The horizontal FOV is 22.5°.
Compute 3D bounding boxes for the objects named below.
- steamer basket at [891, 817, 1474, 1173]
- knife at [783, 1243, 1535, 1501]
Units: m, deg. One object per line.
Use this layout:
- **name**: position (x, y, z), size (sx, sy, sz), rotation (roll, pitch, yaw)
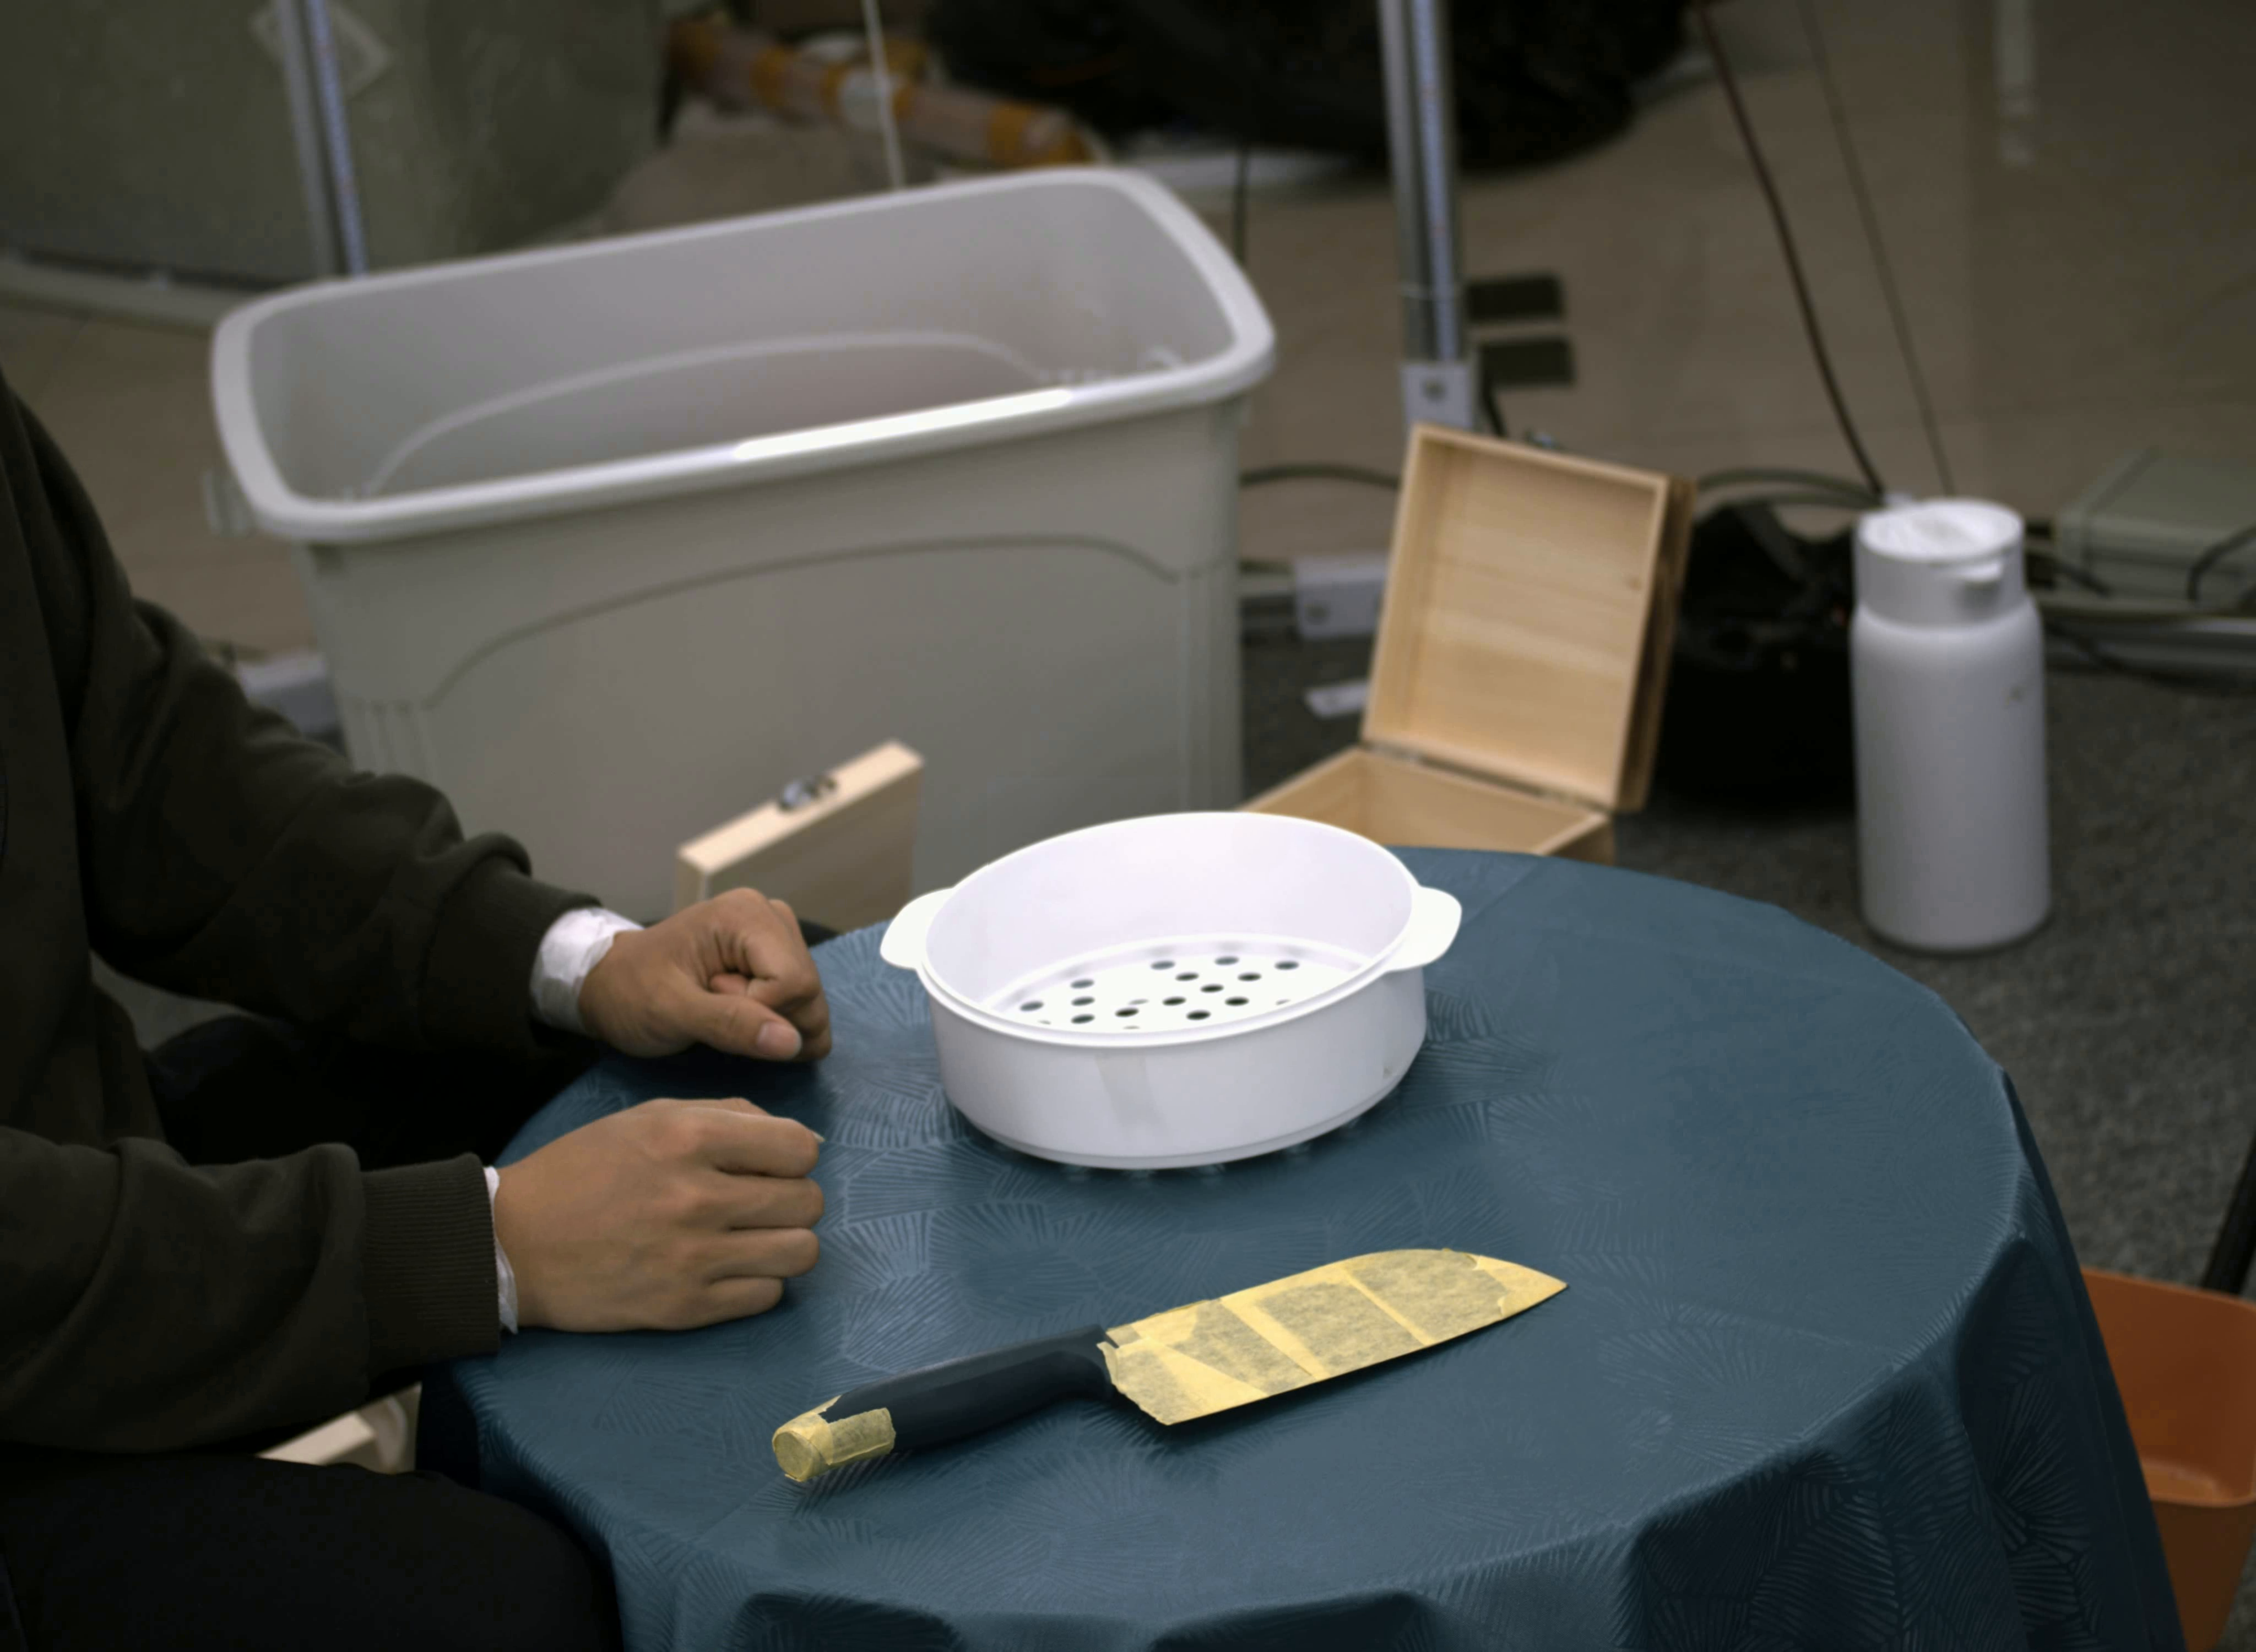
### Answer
- **steamer basket**: position (0.024, 0.066, 2.223), size (0.230, 0.070, 0.199), rotation (-1, 25, 15)
- **knife**: position (0.016, 0.192, 2.014), size (0.288, 0.027, 0.080), rotation (-15, 24, -20)
